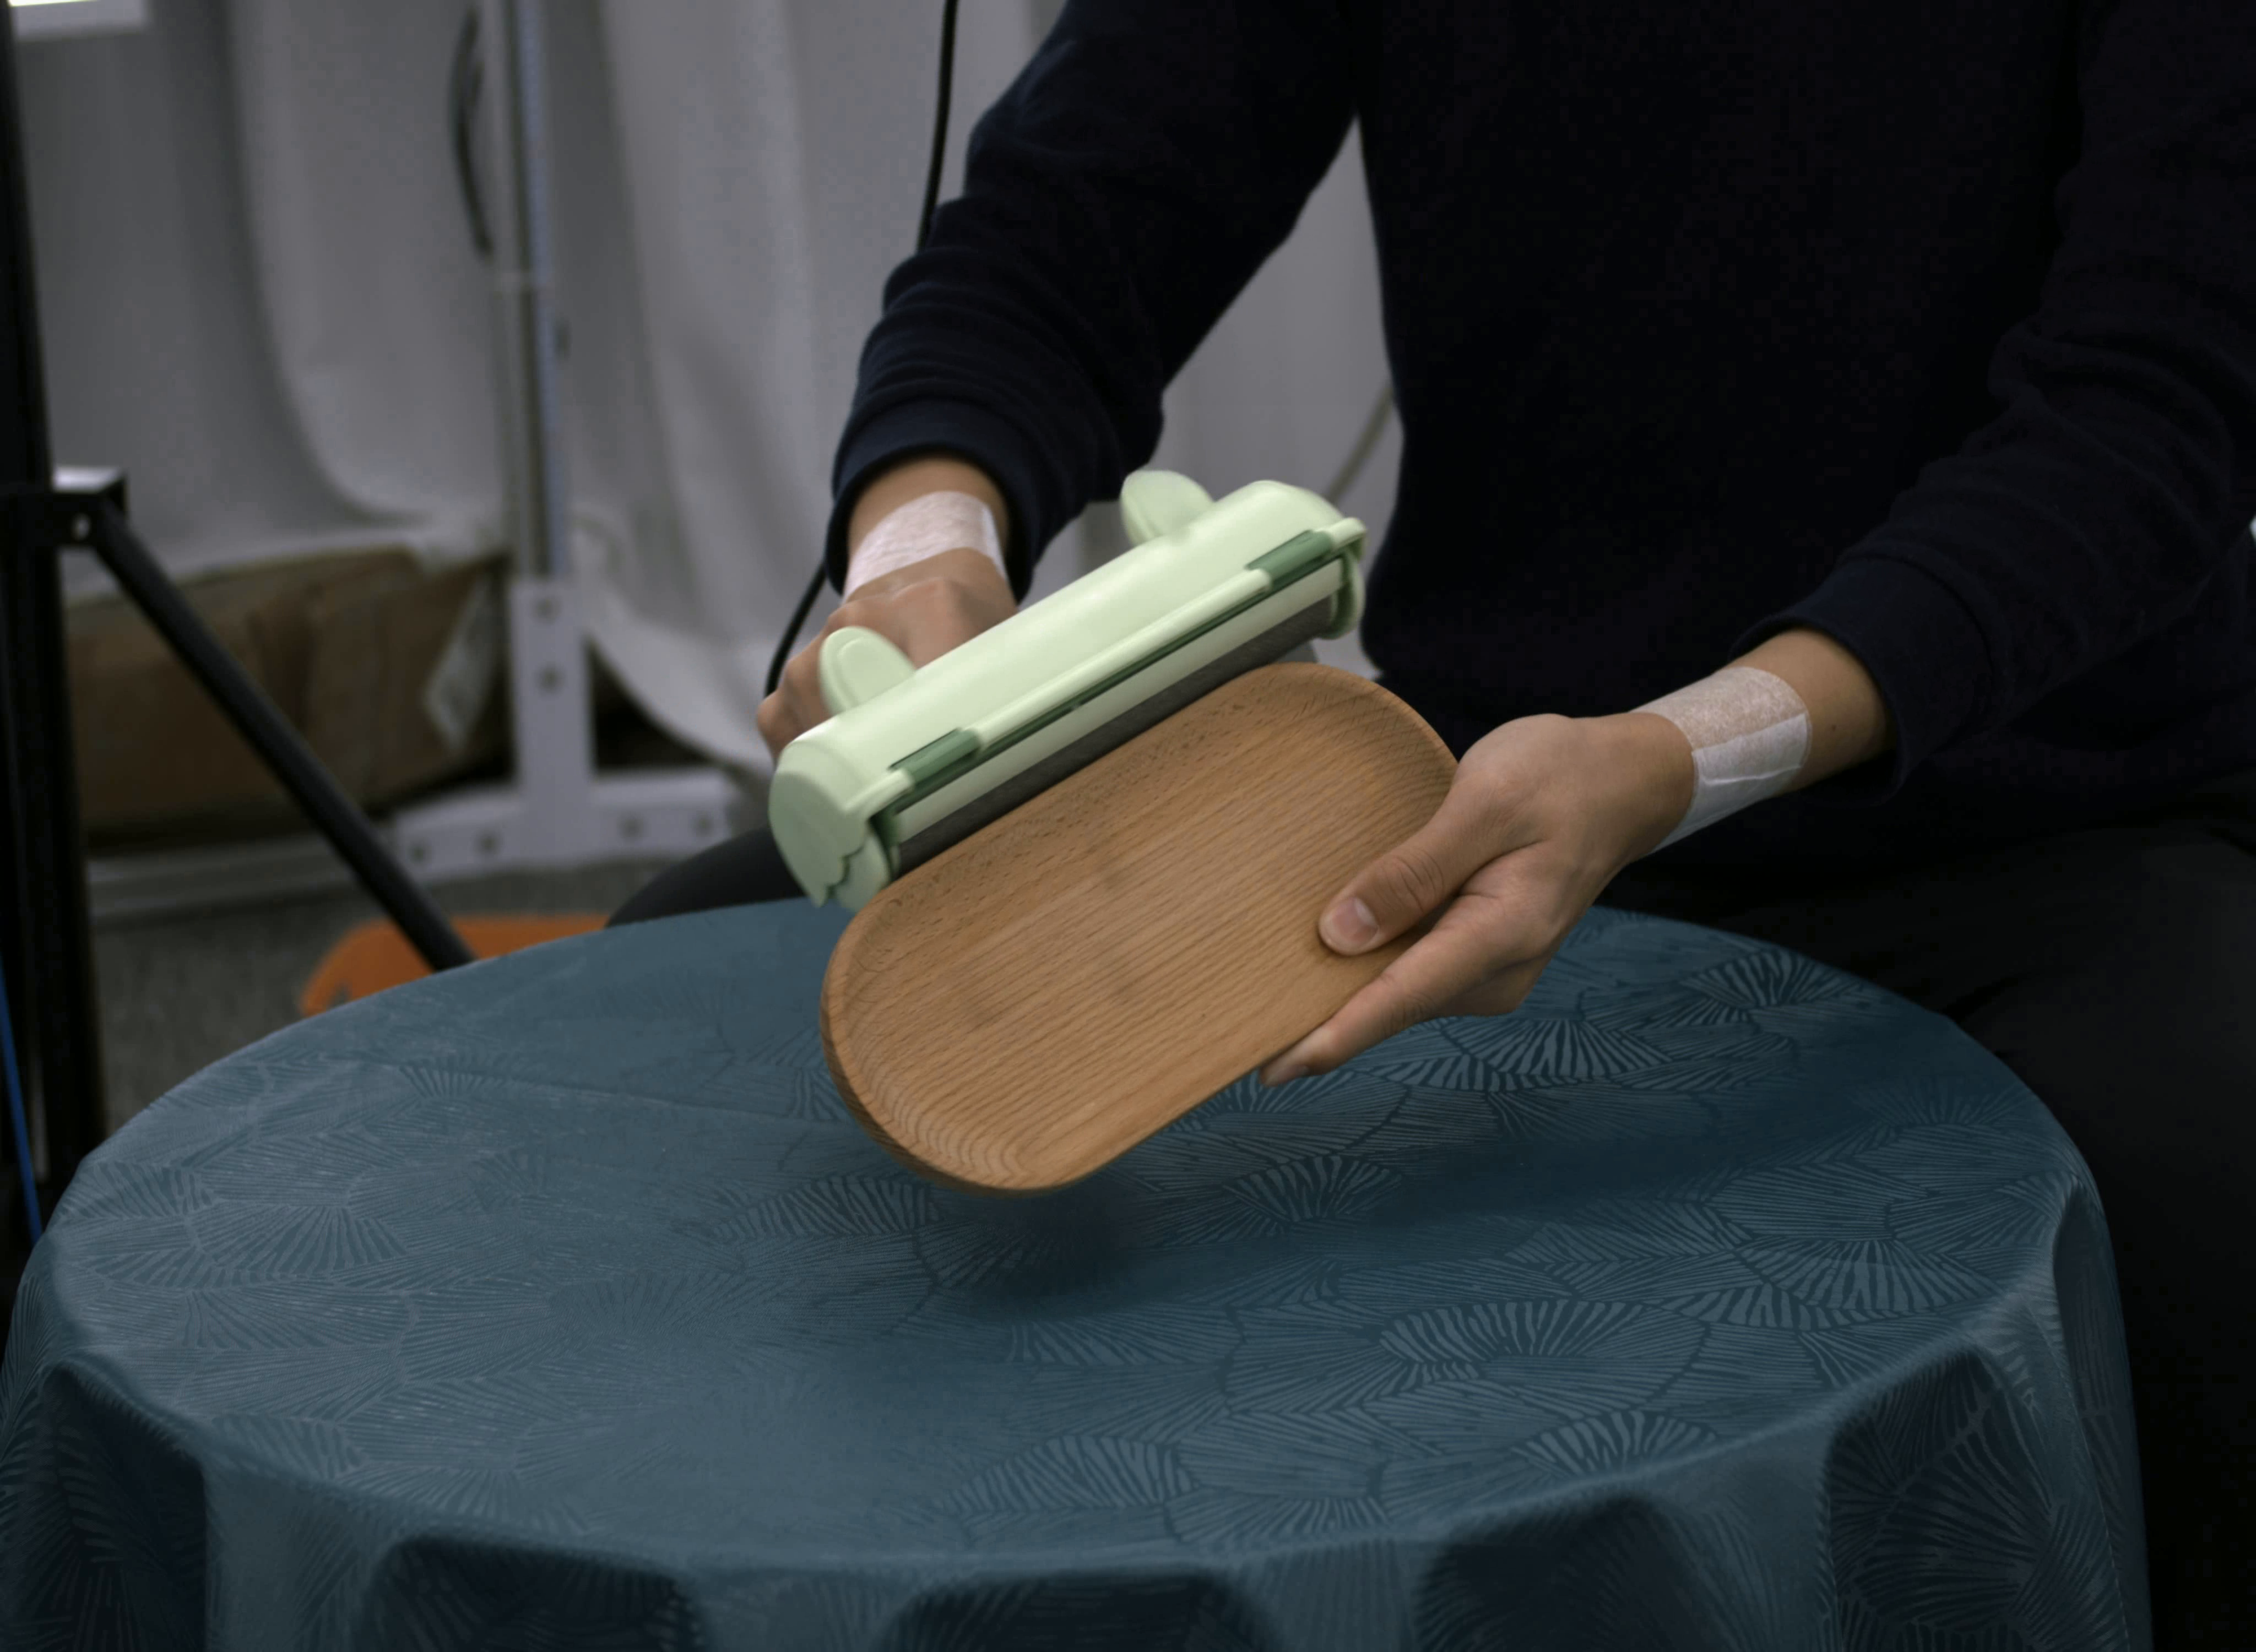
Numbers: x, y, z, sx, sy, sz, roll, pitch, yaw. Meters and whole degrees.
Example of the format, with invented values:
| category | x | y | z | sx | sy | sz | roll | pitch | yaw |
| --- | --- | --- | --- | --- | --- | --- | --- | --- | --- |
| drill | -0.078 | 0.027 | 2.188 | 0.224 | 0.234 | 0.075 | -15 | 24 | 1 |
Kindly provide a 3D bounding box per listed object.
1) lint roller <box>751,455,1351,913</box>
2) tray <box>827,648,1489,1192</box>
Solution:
| category | x | y | z | sx | sy | sz | roll | pitch | yaw |
| --- | --- | --- | --- | --- | --- | --- | --- | --- | --- |
| lint roller | -0.055 | -0.048 | 1.594 | 0.195 | 0.082 | 0.187 | -31 | 19 | -29 |
| tray | 0.011 | 0.026 | 1.521 | 0.227 | 0.102 | 0.020 | -31 | -10 | -32 |
